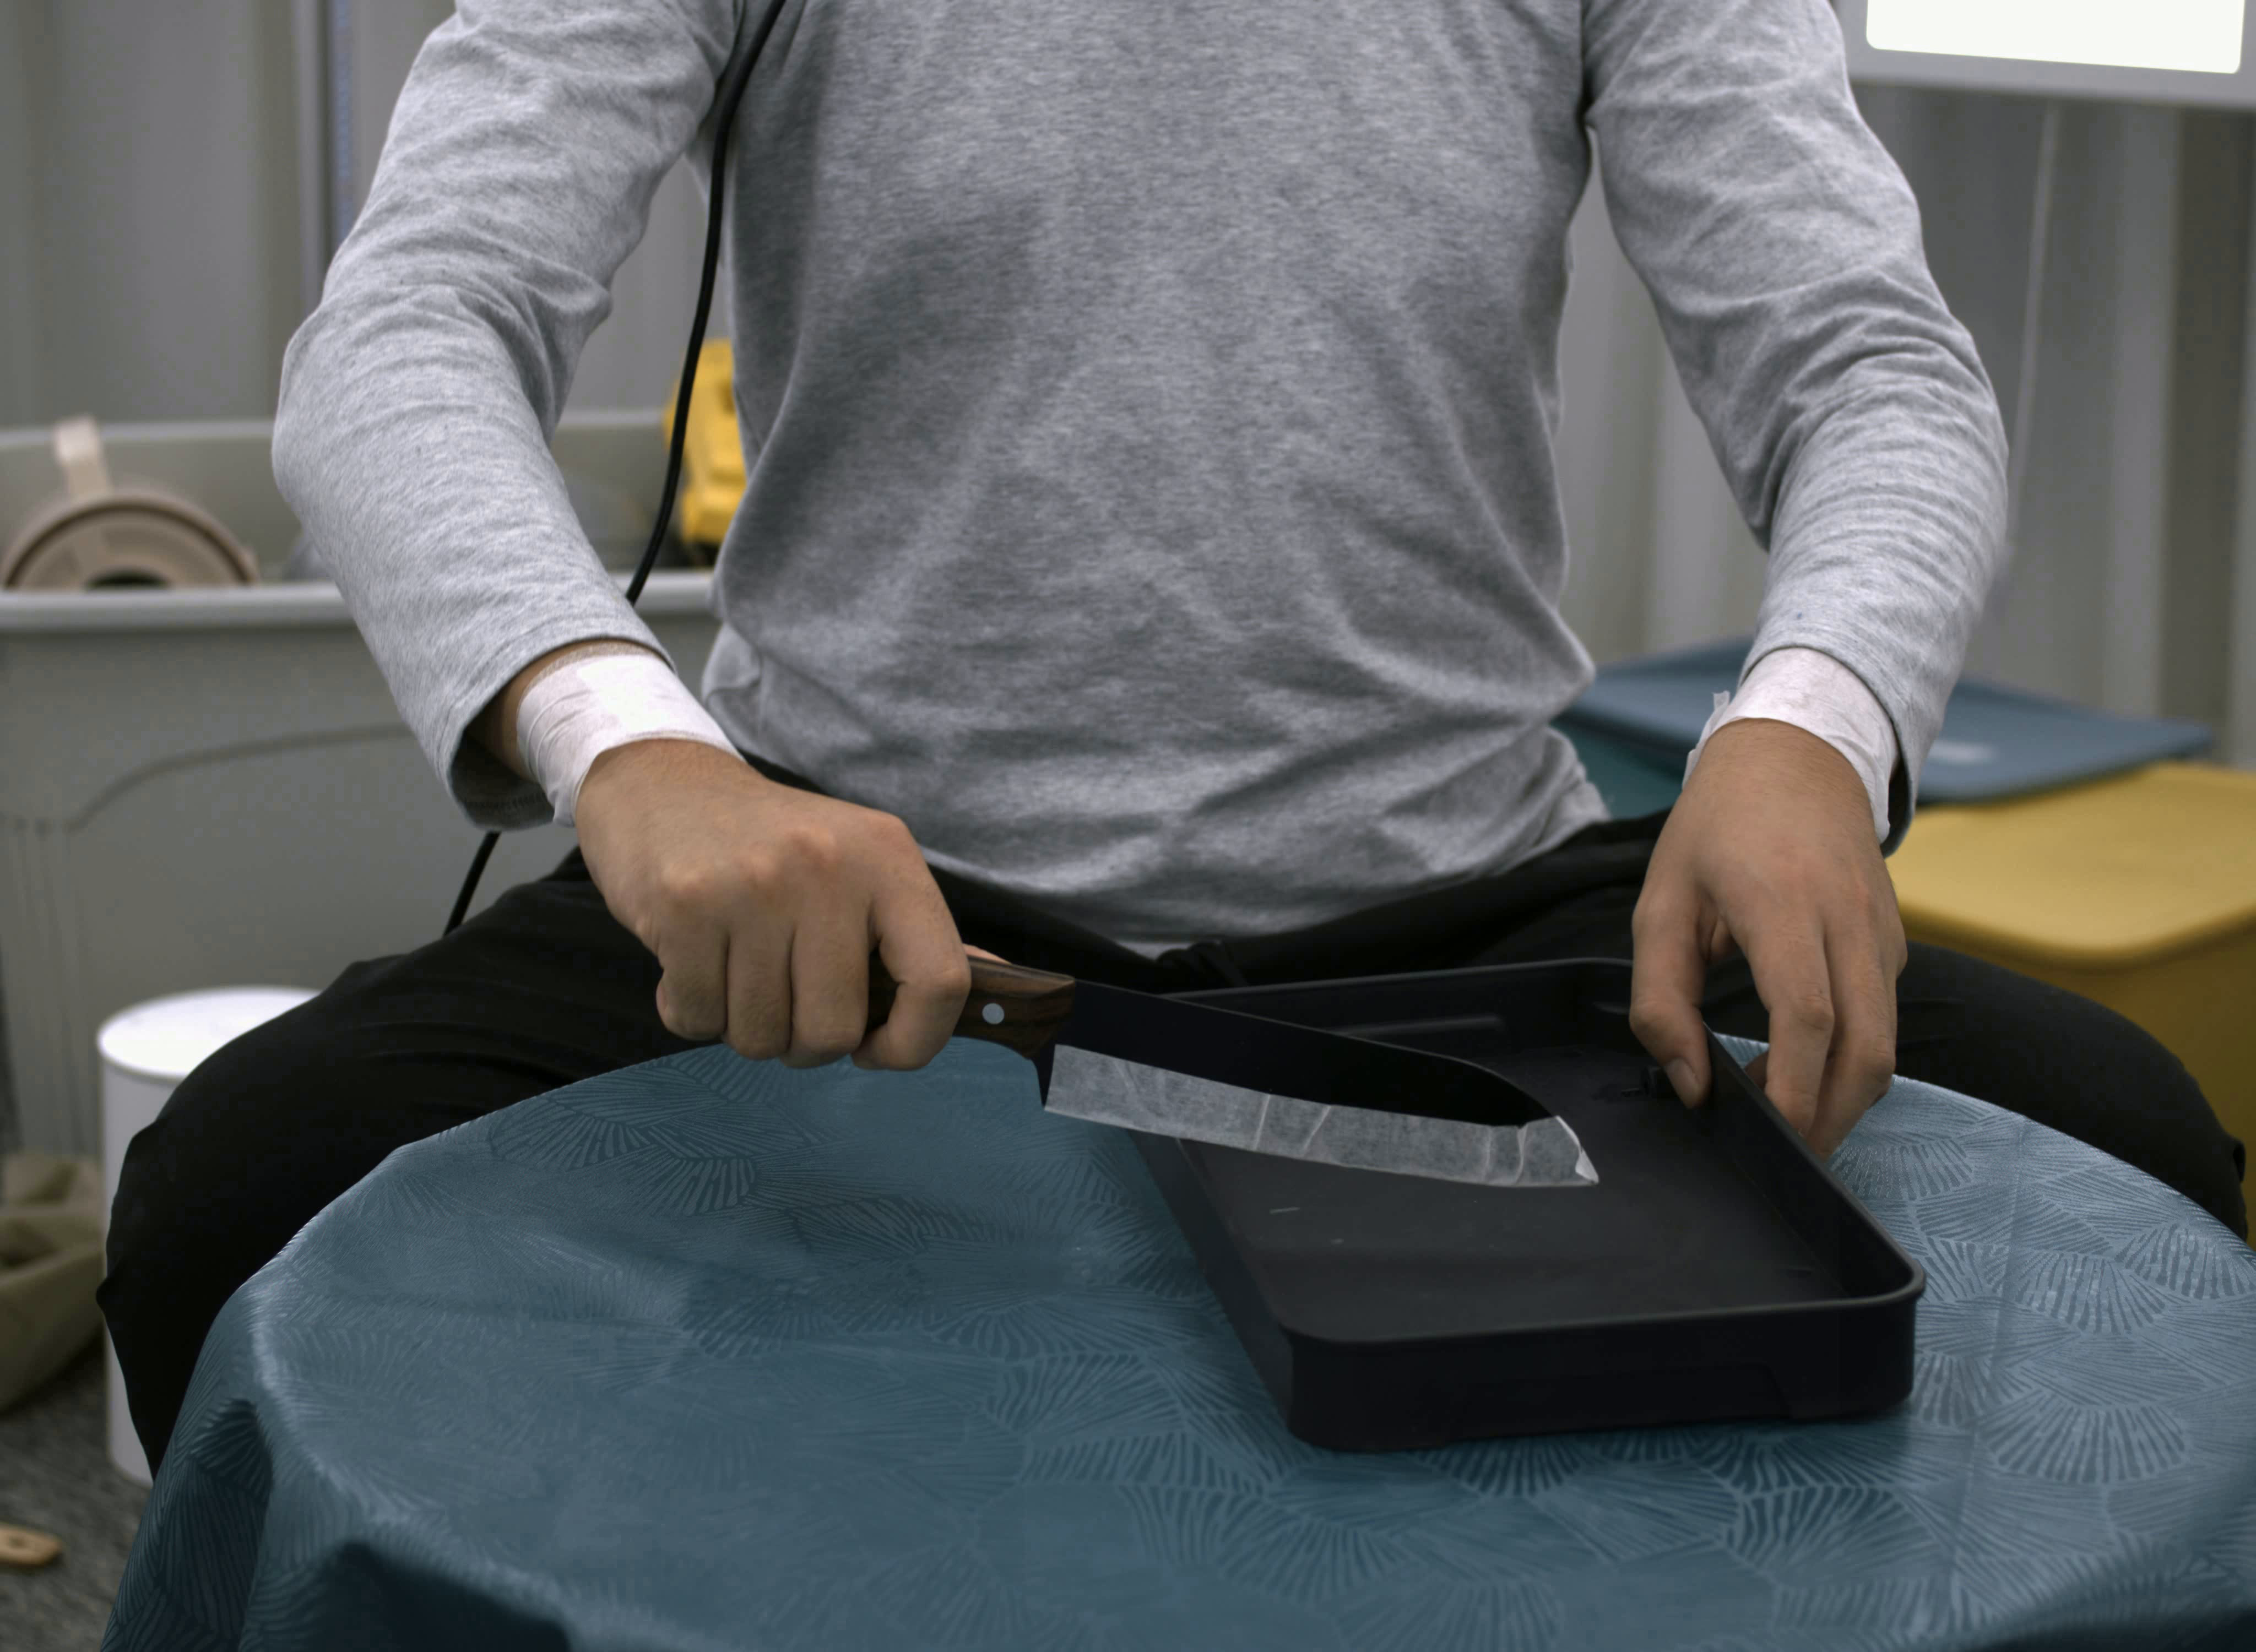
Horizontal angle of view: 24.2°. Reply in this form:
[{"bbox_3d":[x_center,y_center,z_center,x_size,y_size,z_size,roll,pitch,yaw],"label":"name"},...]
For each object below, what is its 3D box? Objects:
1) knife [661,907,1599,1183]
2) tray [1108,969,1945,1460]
[{"bbox_3d":[0.000,0.066,1.561,0.288,0.050,0.020,14,25,4],"label":"knife"},{"bbox_3d":[0.108,0.109,1.567,0.184,0.037,0.315,-4,16,-11],"label":"tray"}]
